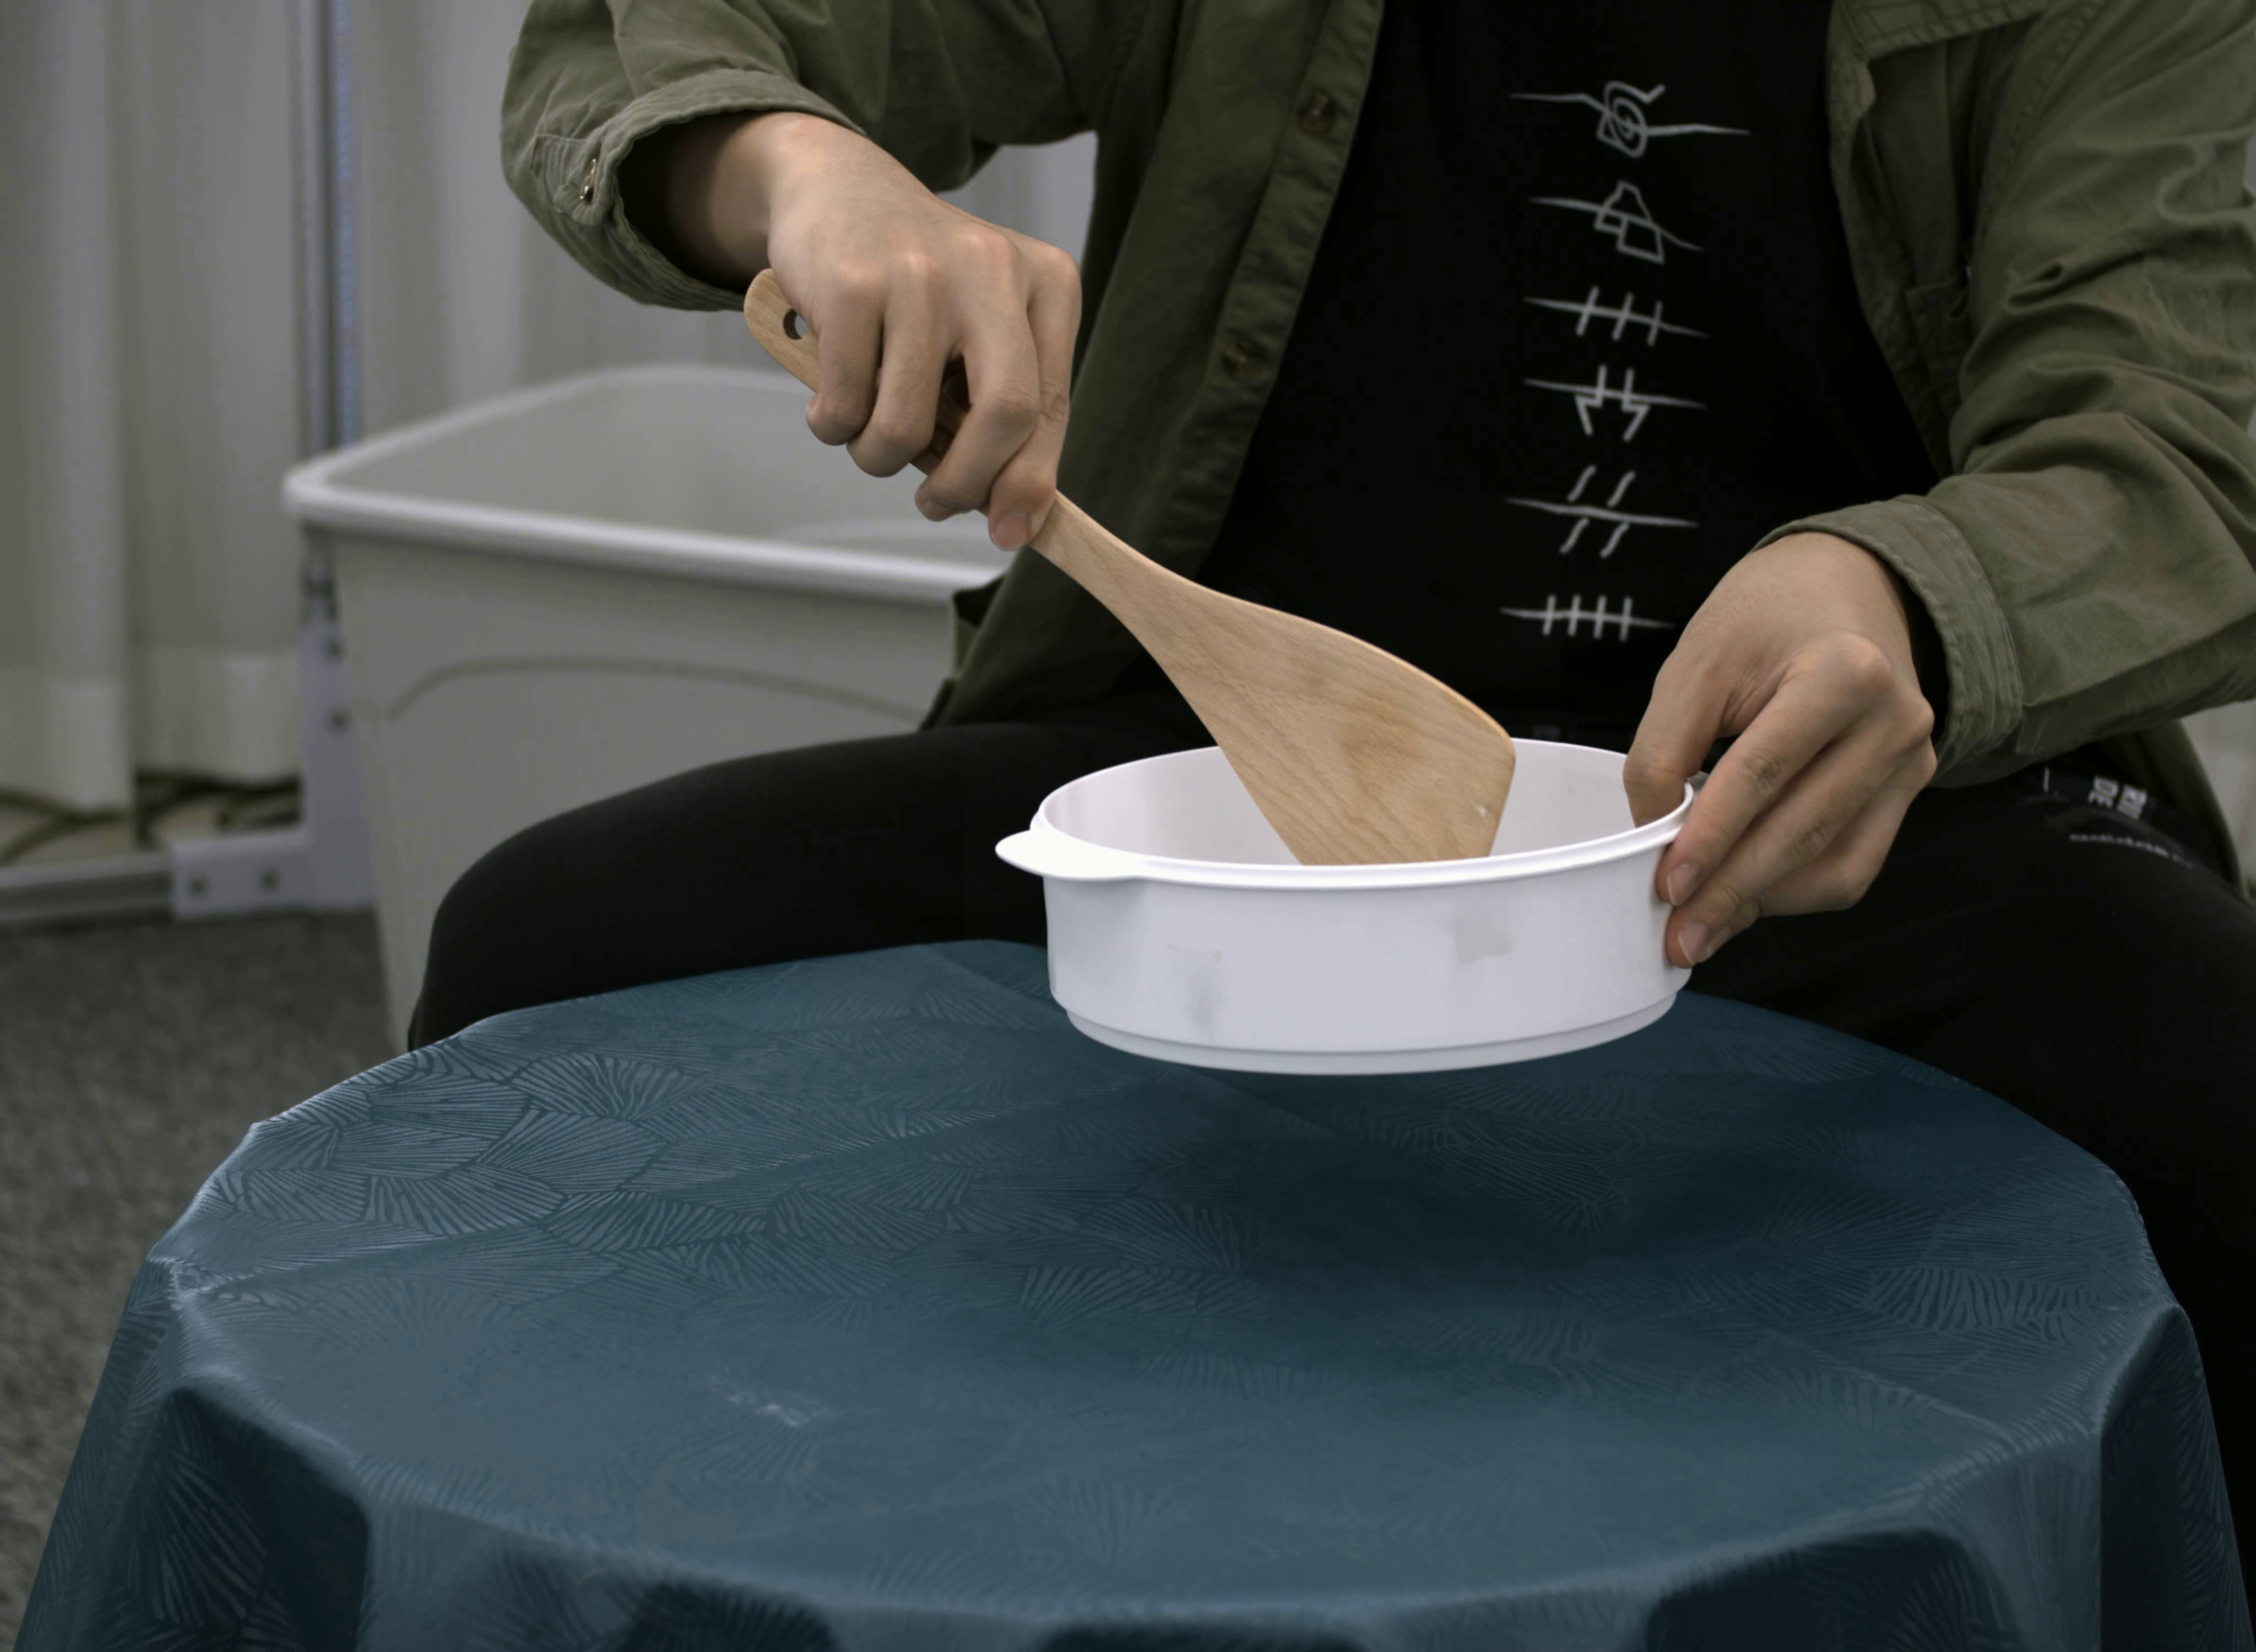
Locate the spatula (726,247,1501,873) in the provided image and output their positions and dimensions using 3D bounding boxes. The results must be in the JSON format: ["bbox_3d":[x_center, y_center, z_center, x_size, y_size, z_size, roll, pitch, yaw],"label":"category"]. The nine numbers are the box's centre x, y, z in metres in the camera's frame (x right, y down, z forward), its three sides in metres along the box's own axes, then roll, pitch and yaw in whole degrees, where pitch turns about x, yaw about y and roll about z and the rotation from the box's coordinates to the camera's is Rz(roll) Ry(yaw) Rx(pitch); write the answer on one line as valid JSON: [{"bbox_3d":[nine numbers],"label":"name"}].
[{"bbox_3d":[-0.011,-0.085,1.592,0.324,0.080,0.016,39,27,24],"label":"spatula"}]

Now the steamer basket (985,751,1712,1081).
[{"bbox_3d":[0.068,0.026,1.586,0.231,0.070,0.199,-6,12,-25],"label":"steamer basket"}]
